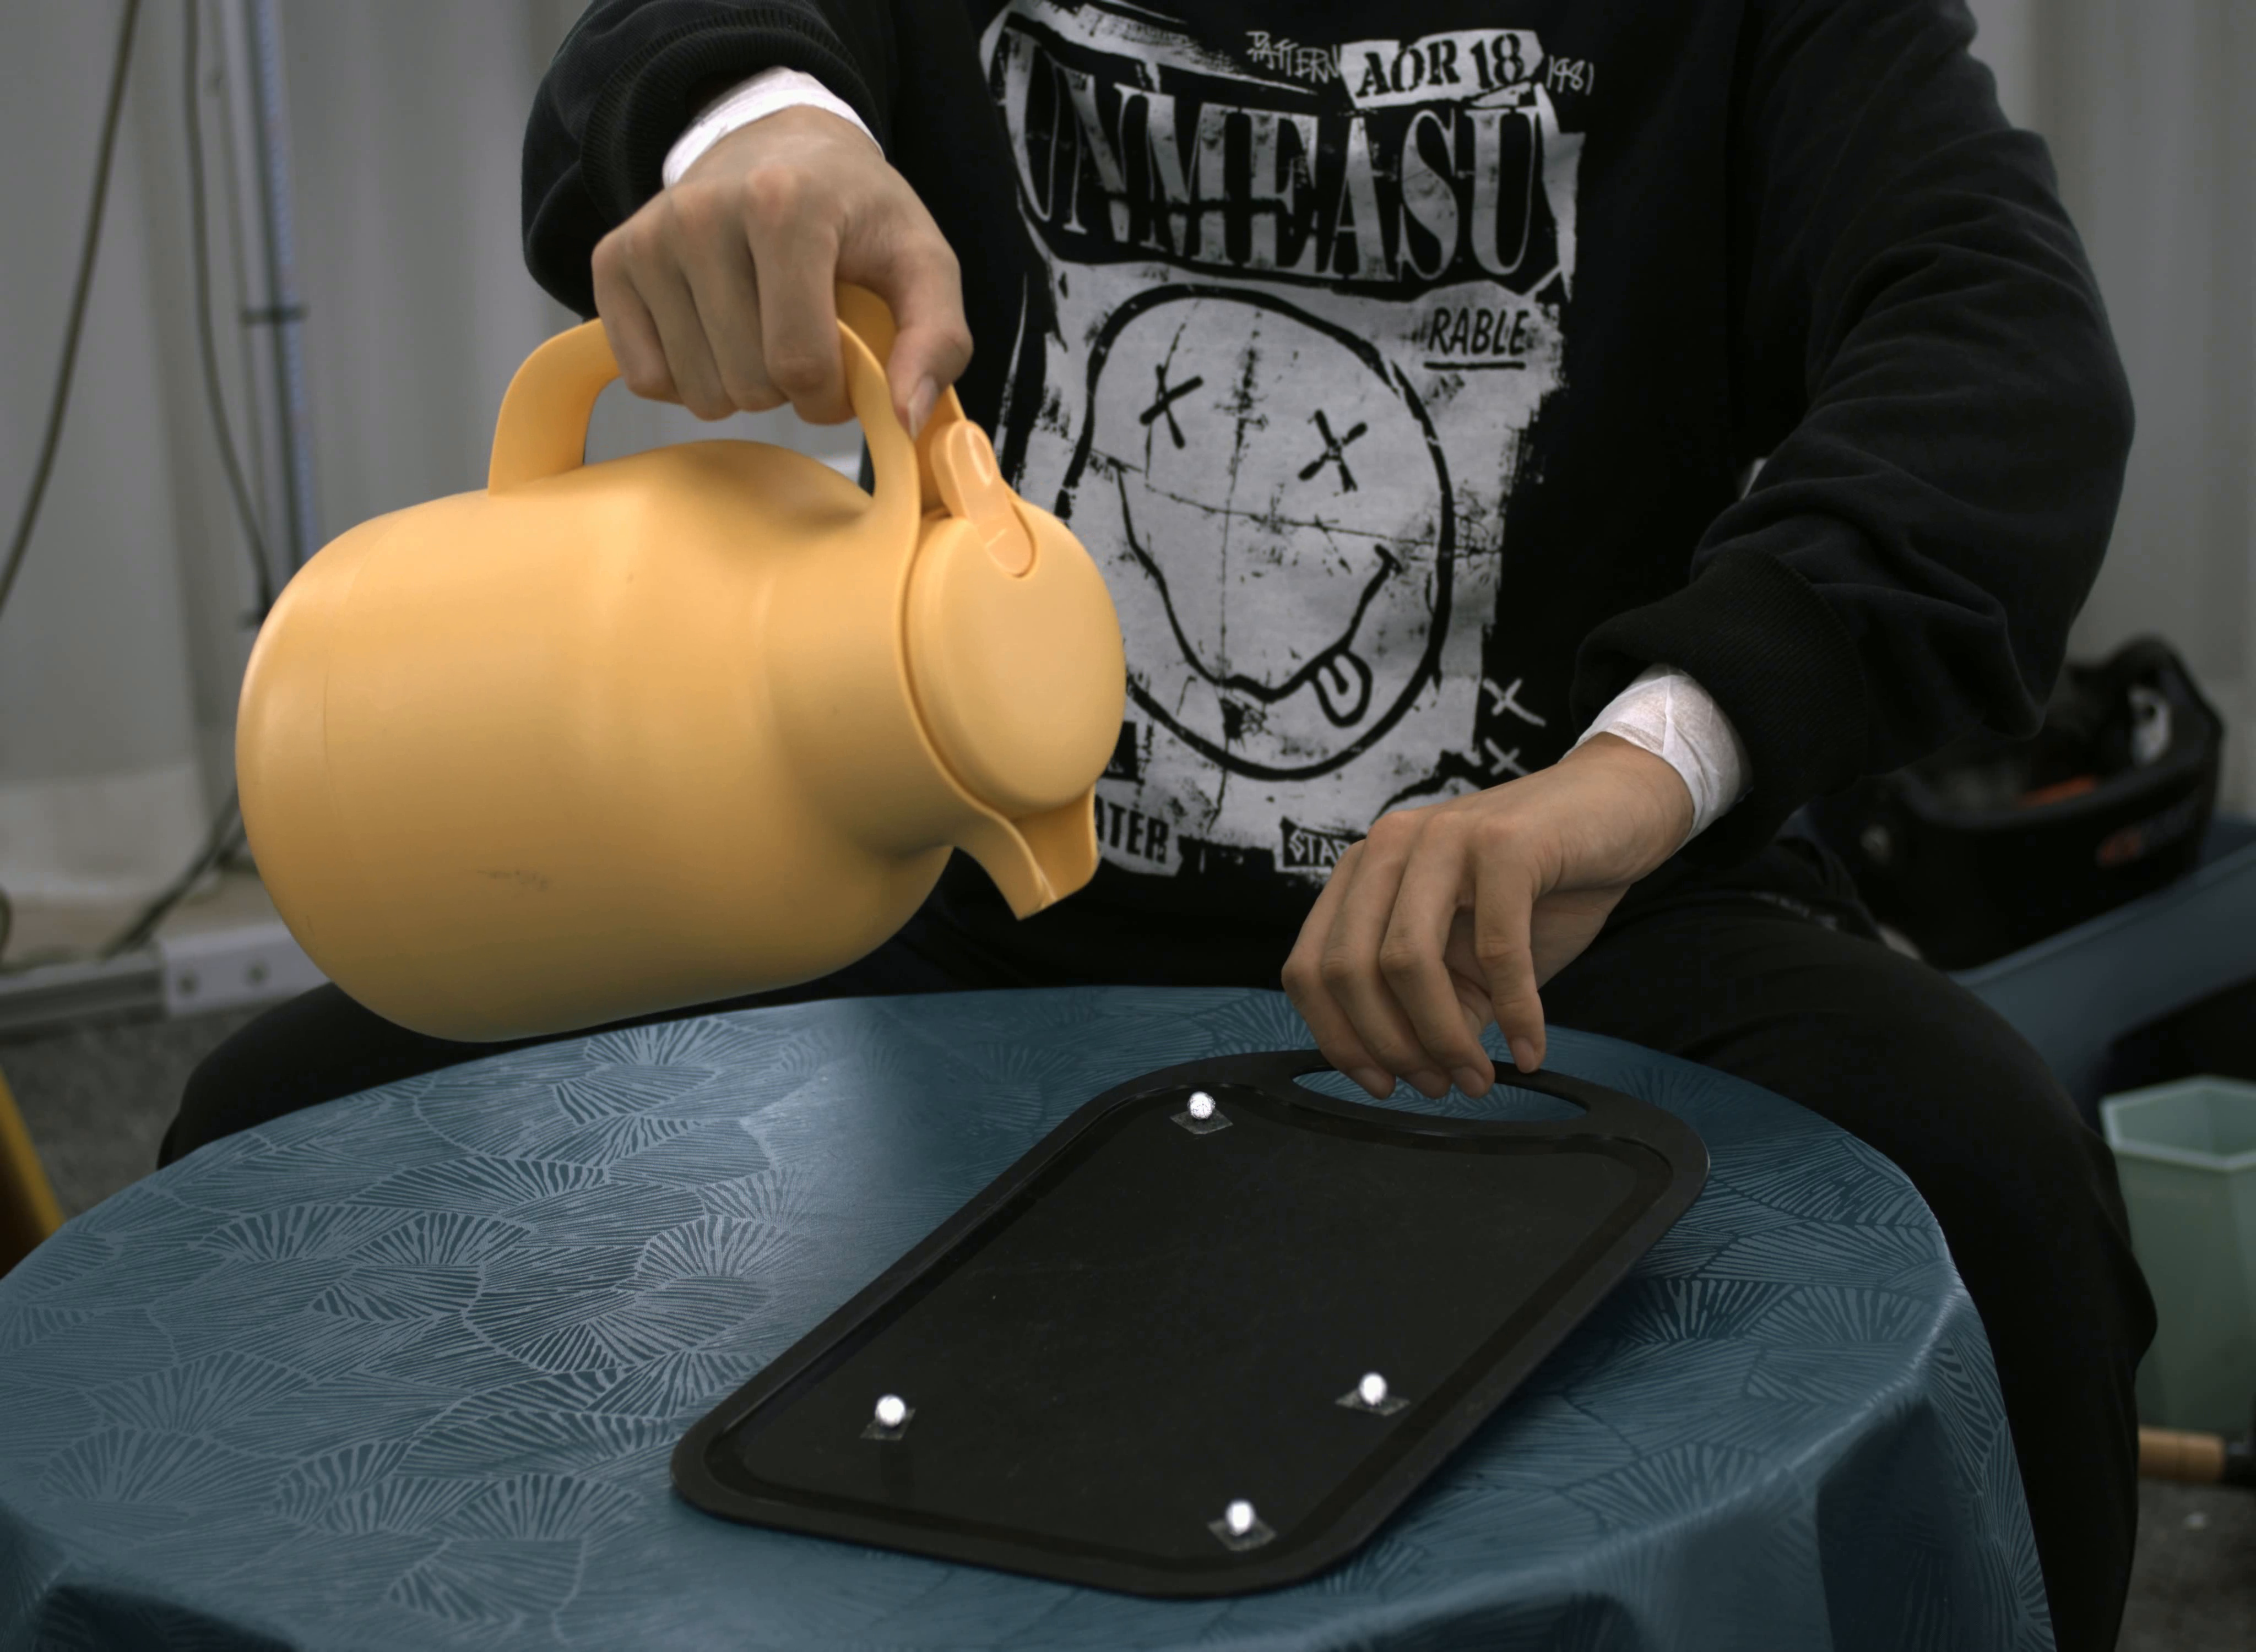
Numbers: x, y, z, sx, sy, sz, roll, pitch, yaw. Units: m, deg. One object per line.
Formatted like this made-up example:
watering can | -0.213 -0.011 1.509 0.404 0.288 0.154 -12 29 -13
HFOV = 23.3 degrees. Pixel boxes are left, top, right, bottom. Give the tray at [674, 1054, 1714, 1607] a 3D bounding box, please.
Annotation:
tray | 0.027 0.132 1.558 0.211 0.010 0.326 7 25 30

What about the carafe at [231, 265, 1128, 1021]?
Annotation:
carafe | -0.128 -0.053 1.585 0.260 0.202 0.163 -9 6 35
